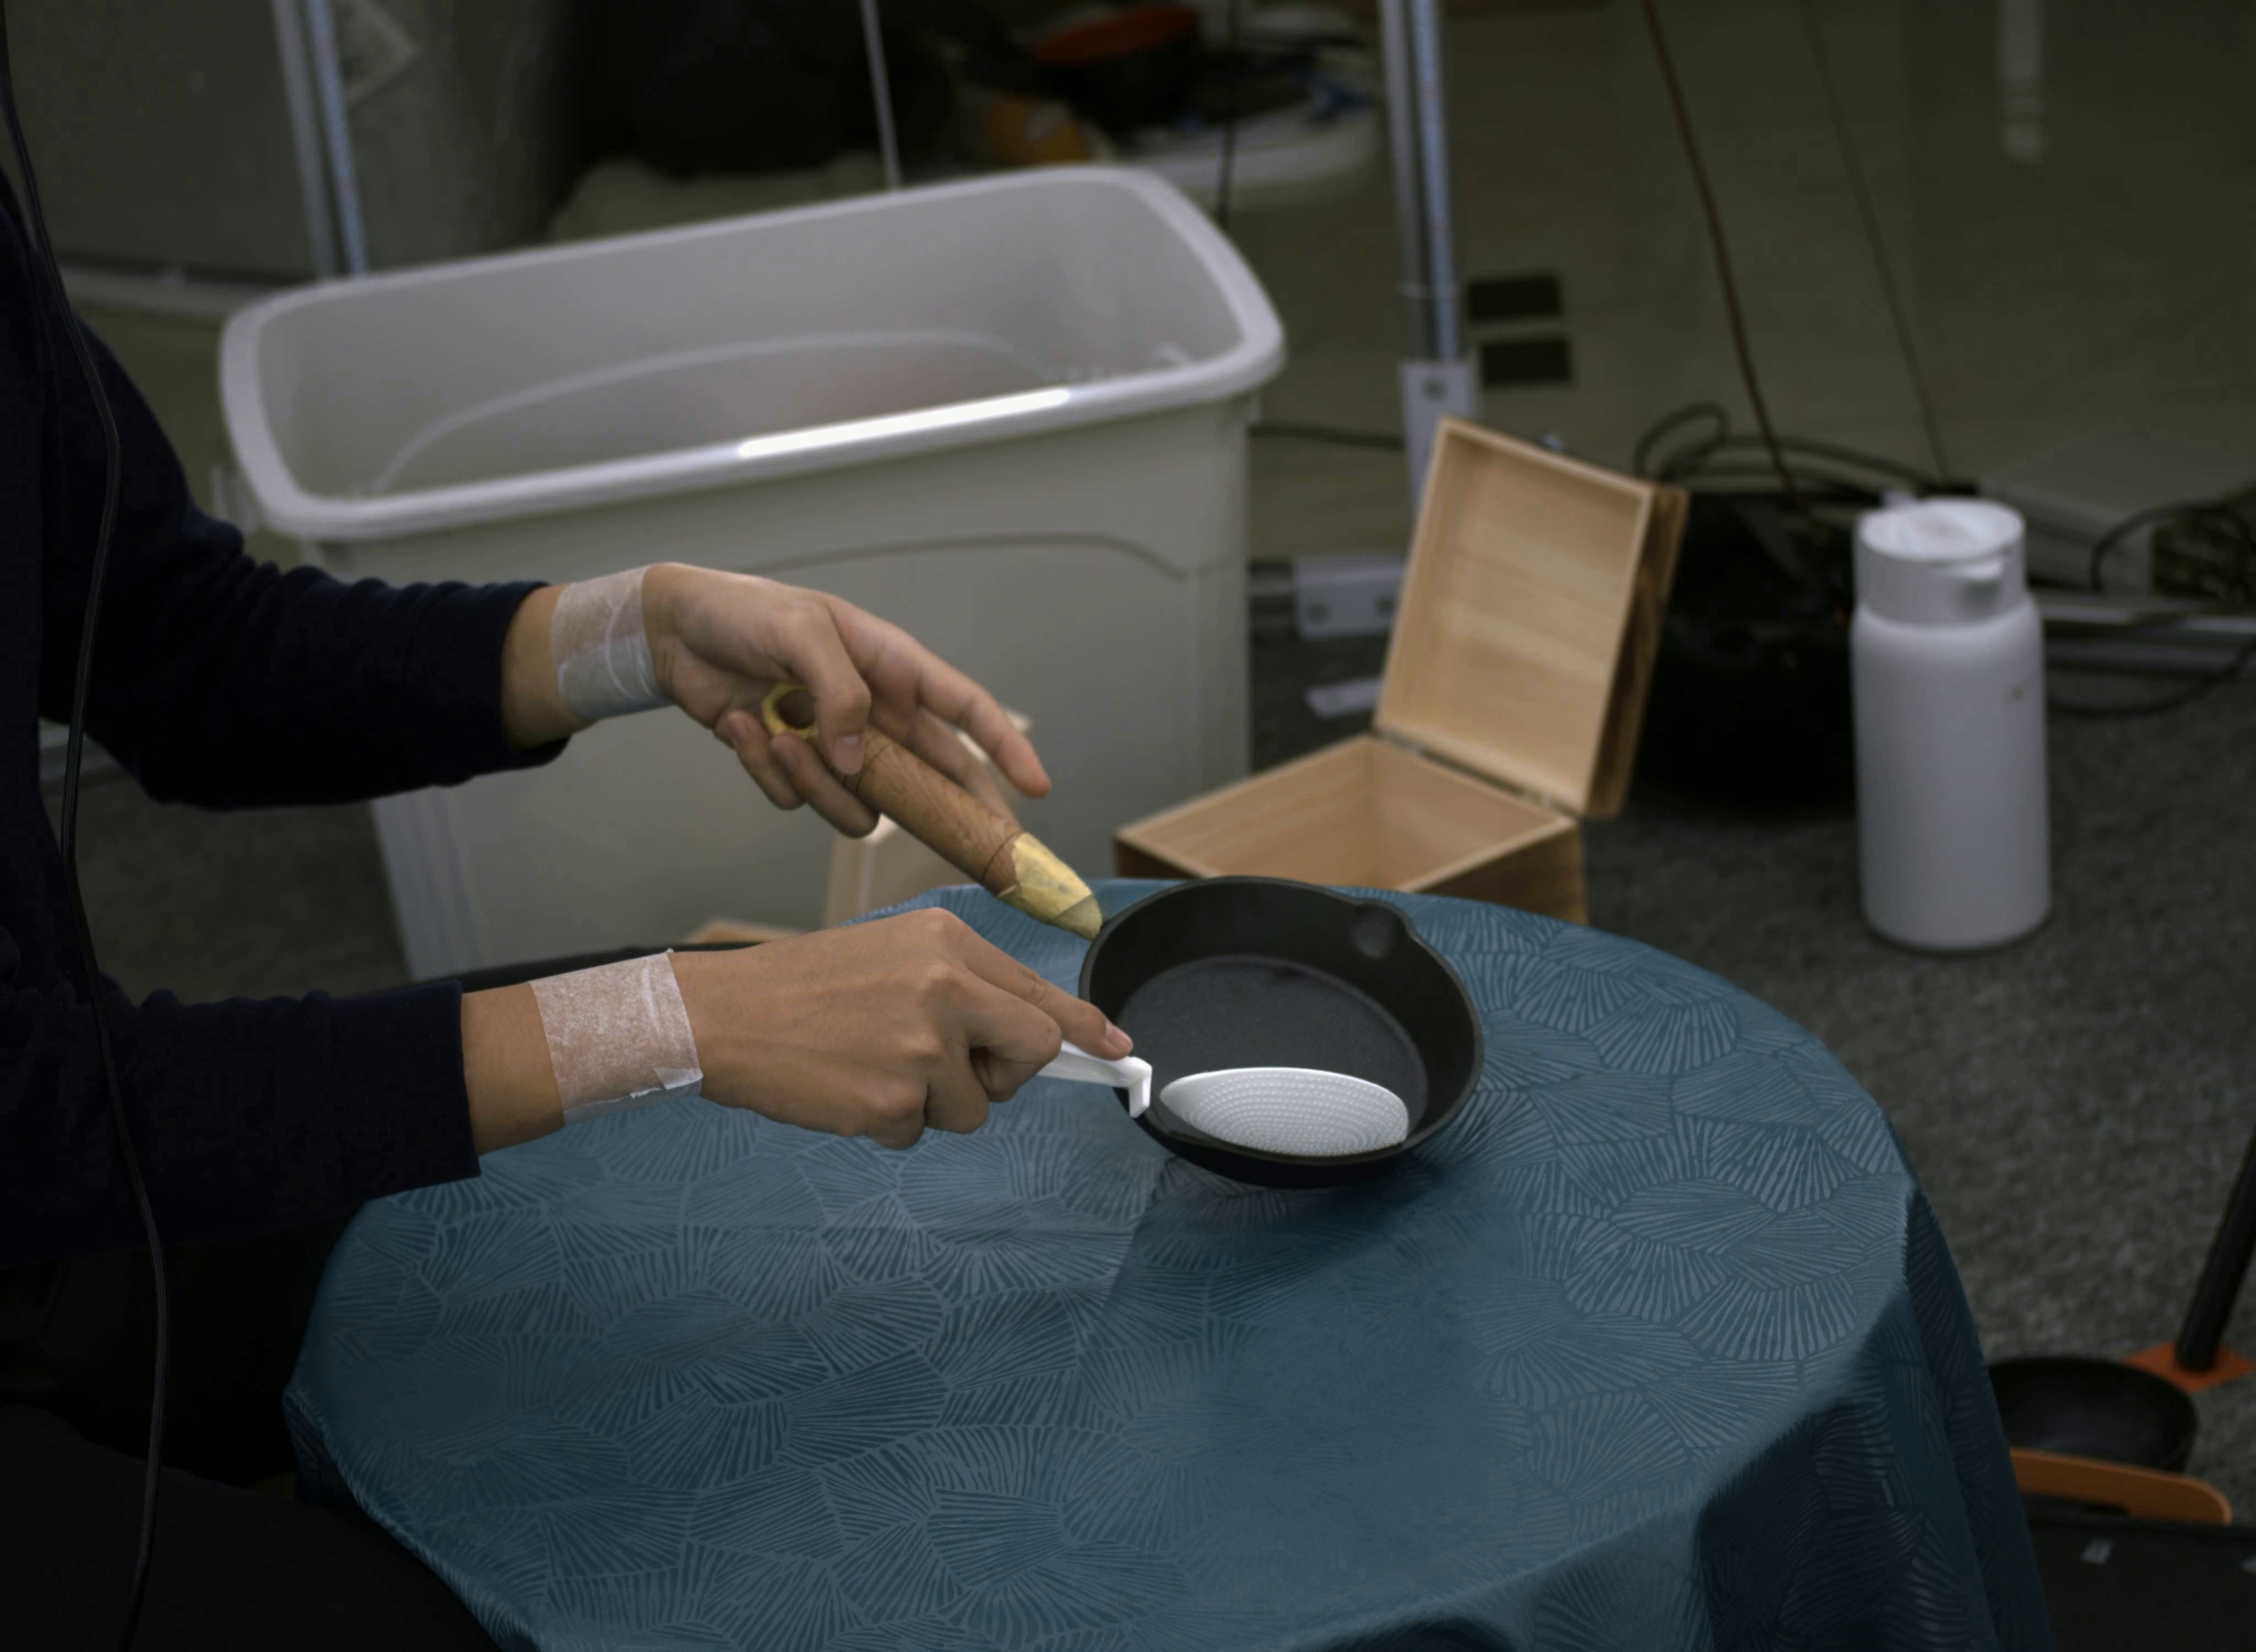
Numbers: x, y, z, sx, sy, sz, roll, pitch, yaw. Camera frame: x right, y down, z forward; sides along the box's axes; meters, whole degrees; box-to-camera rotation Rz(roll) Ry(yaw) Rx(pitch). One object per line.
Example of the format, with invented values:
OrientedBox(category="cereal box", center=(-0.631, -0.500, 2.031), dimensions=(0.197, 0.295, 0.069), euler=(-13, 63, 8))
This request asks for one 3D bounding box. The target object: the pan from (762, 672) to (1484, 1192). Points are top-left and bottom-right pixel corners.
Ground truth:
OrientedBox(category="pan", center=(-0.011, 0.037, 2.183), dimensions=(0.322, 0.050, 0.167), euler=(32, 45, 18))

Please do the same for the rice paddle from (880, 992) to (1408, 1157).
OrientedBox(category="rice paddle", center=(0.009, 0.093, 2.072), dimensions=(0.205, 0.069, 0.029), euler=(12, 62, -22))
